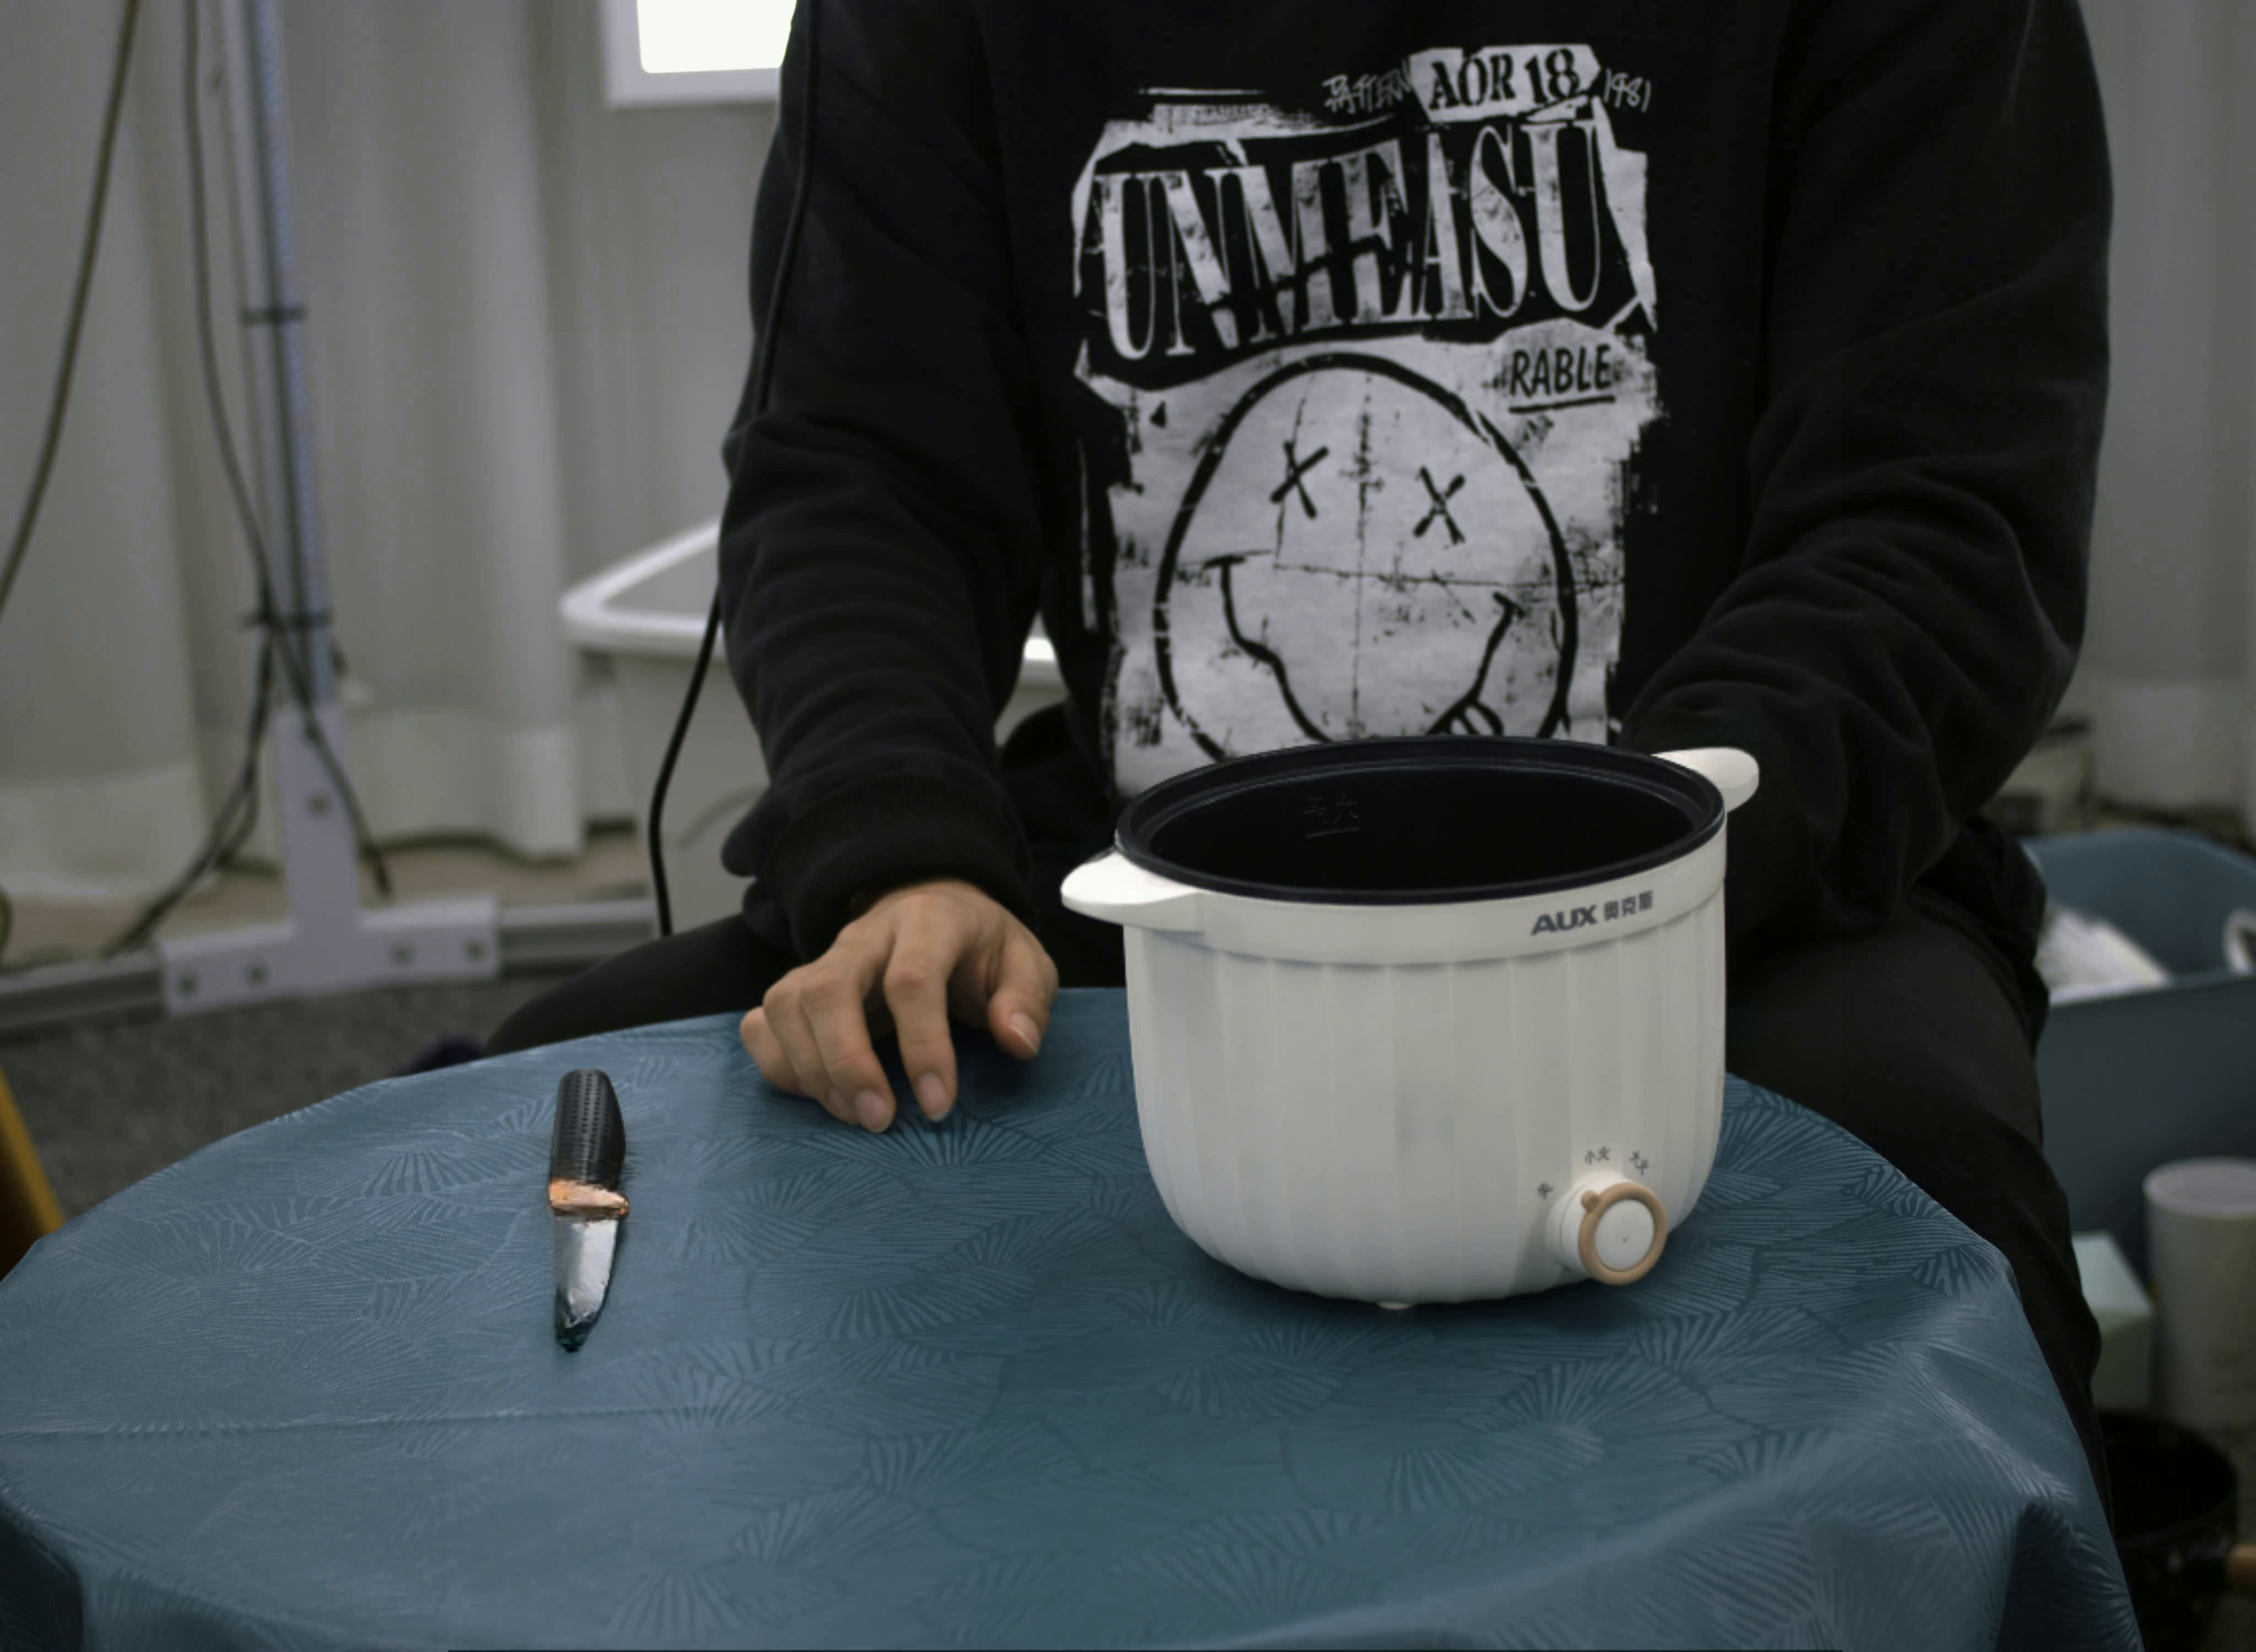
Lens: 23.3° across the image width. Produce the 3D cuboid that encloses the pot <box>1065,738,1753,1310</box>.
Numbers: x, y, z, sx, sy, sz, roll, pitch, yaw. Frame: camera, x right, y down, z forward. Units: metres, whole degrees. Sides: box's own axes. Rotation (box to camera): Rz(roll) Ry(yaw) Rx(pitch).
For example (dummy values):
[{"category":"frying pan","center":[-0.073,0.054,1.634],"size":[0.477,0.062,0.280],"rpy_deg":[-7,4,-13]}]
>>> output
[{"category":"pot","center":[0.094,0.060,1.634],"size":[0.239,0.142,0.191],"rpy_deg":[-12,14,-29]}]

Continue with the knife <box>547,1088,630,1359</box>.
[{"category":"knife","center":[-0.168,0.122,1.701],"size":[0.026,0.017,0.227],"rpy_deg":[11,15,-8]}]
